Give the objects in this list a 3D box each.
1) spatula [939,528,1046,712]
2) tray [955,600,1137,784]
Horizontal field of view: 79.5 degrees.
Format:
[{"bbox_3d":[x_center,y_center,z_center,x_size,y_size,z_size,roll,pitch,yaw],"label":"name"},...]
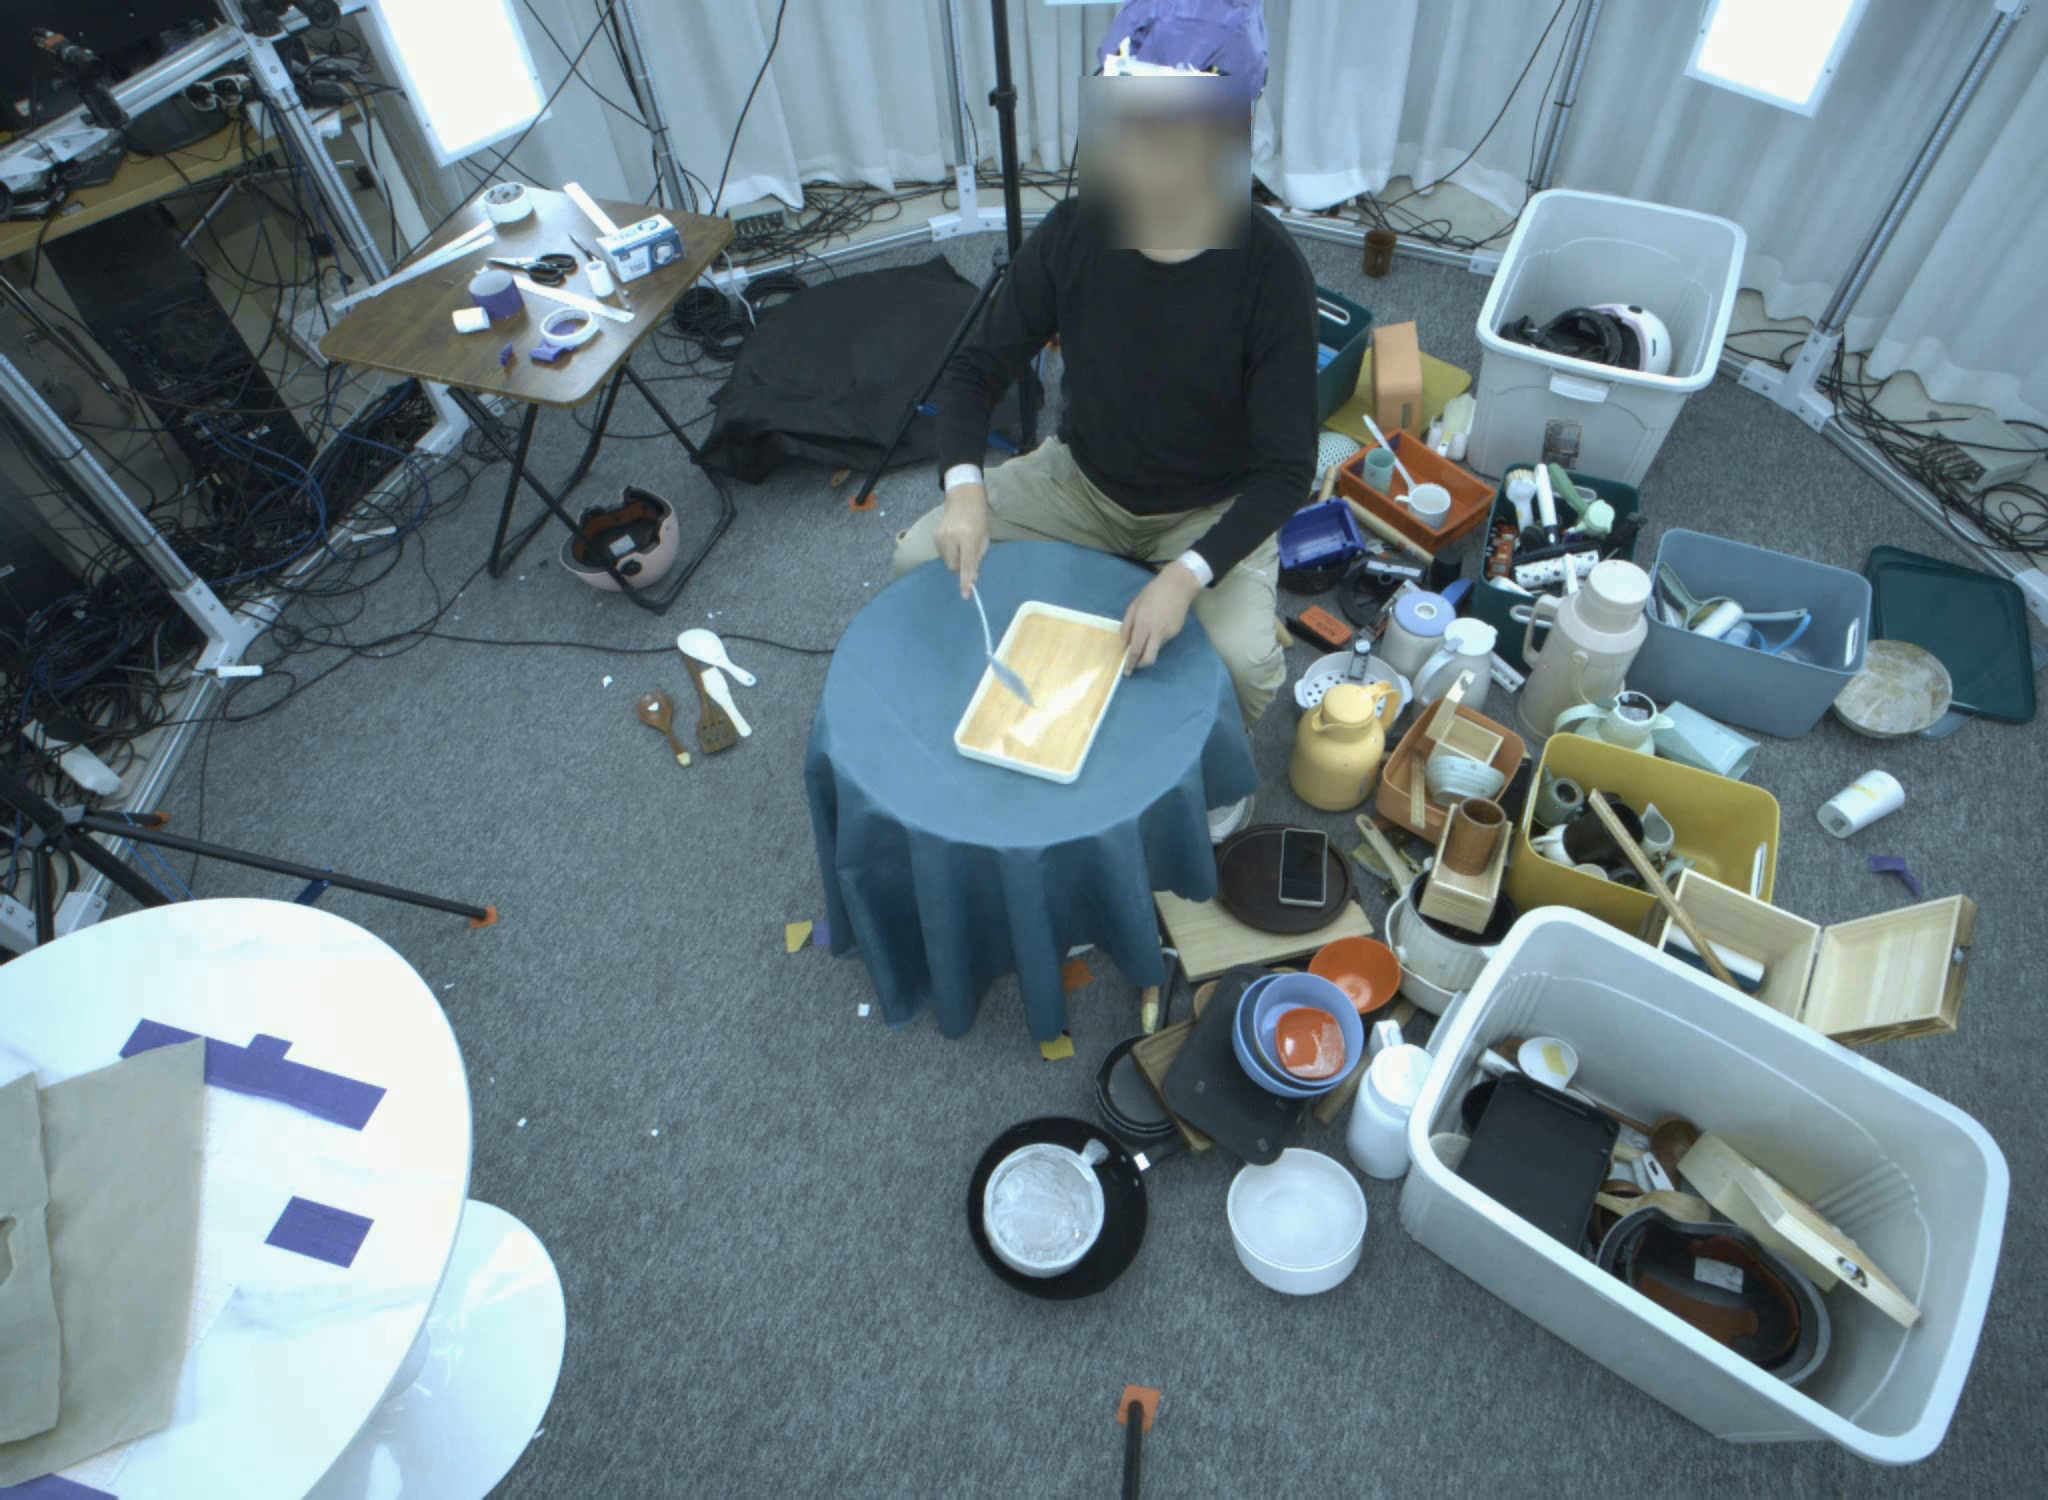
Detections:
[{"bbox_3d":[-0.054,-0.205,1.787,0.045,0.100,0.359,-23,63,3],"label":"spatula"},{"bbox_3d":[0.037,-0.093,1.836,0.190,0.028,0.300,16,57,13],"label":"tray"}]
